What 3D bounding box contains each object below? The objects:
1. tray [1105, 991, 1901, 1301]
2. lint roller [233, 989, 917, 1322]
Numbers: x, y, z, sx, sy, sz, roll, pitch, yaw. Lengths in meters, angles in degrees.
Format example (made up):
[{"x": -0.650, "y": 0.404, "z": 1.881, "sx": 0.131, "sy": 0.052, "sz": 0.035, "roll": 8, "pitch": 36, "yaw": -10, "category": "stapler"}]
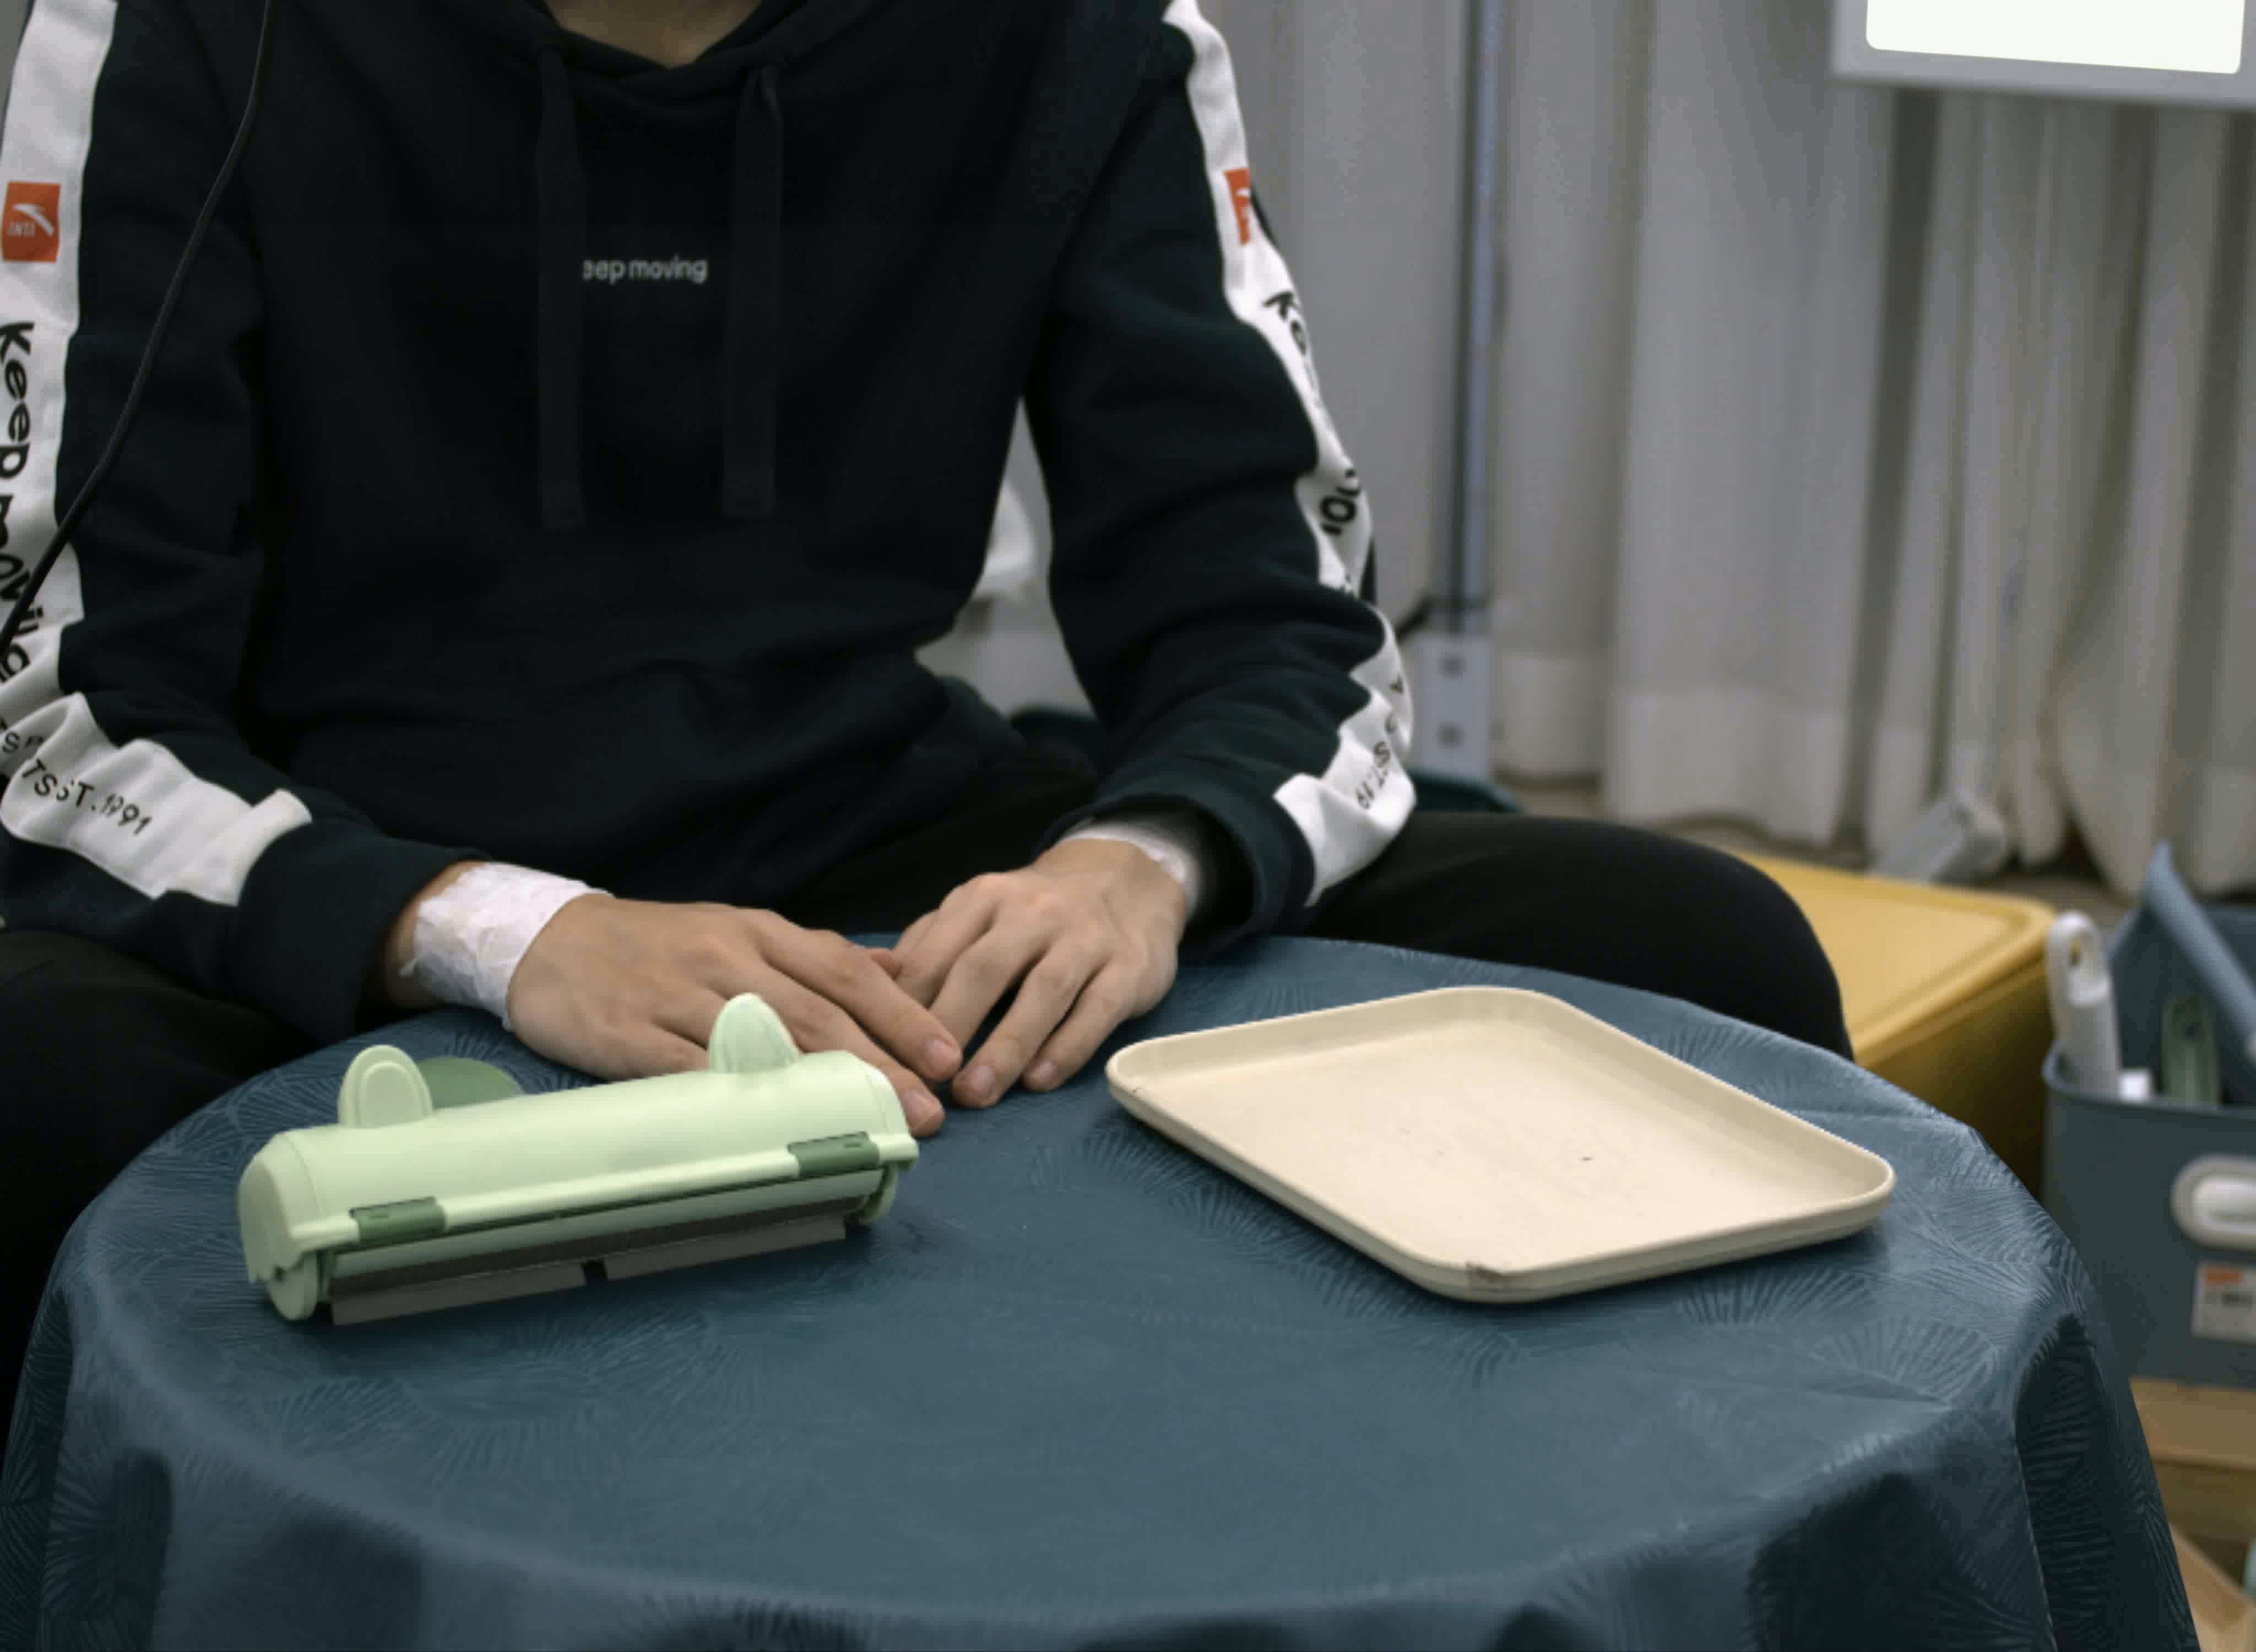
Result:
[{"x": 0.113, "y": 0.098, "z": 1.641, "sx": 0.172, "sy": 0.017, "sz": 0.236, "roll": -7, "pitch": 17, "yaw": -29, "category": "tray"}, {"x": -0.186, "y": 0.080, "z": 1.584, "sx": 0.199, "sy": 0.083, "sz": 0.181, "roll": -8, "pitch": 22, "yaw": -26, "category": "lint roller"}]
